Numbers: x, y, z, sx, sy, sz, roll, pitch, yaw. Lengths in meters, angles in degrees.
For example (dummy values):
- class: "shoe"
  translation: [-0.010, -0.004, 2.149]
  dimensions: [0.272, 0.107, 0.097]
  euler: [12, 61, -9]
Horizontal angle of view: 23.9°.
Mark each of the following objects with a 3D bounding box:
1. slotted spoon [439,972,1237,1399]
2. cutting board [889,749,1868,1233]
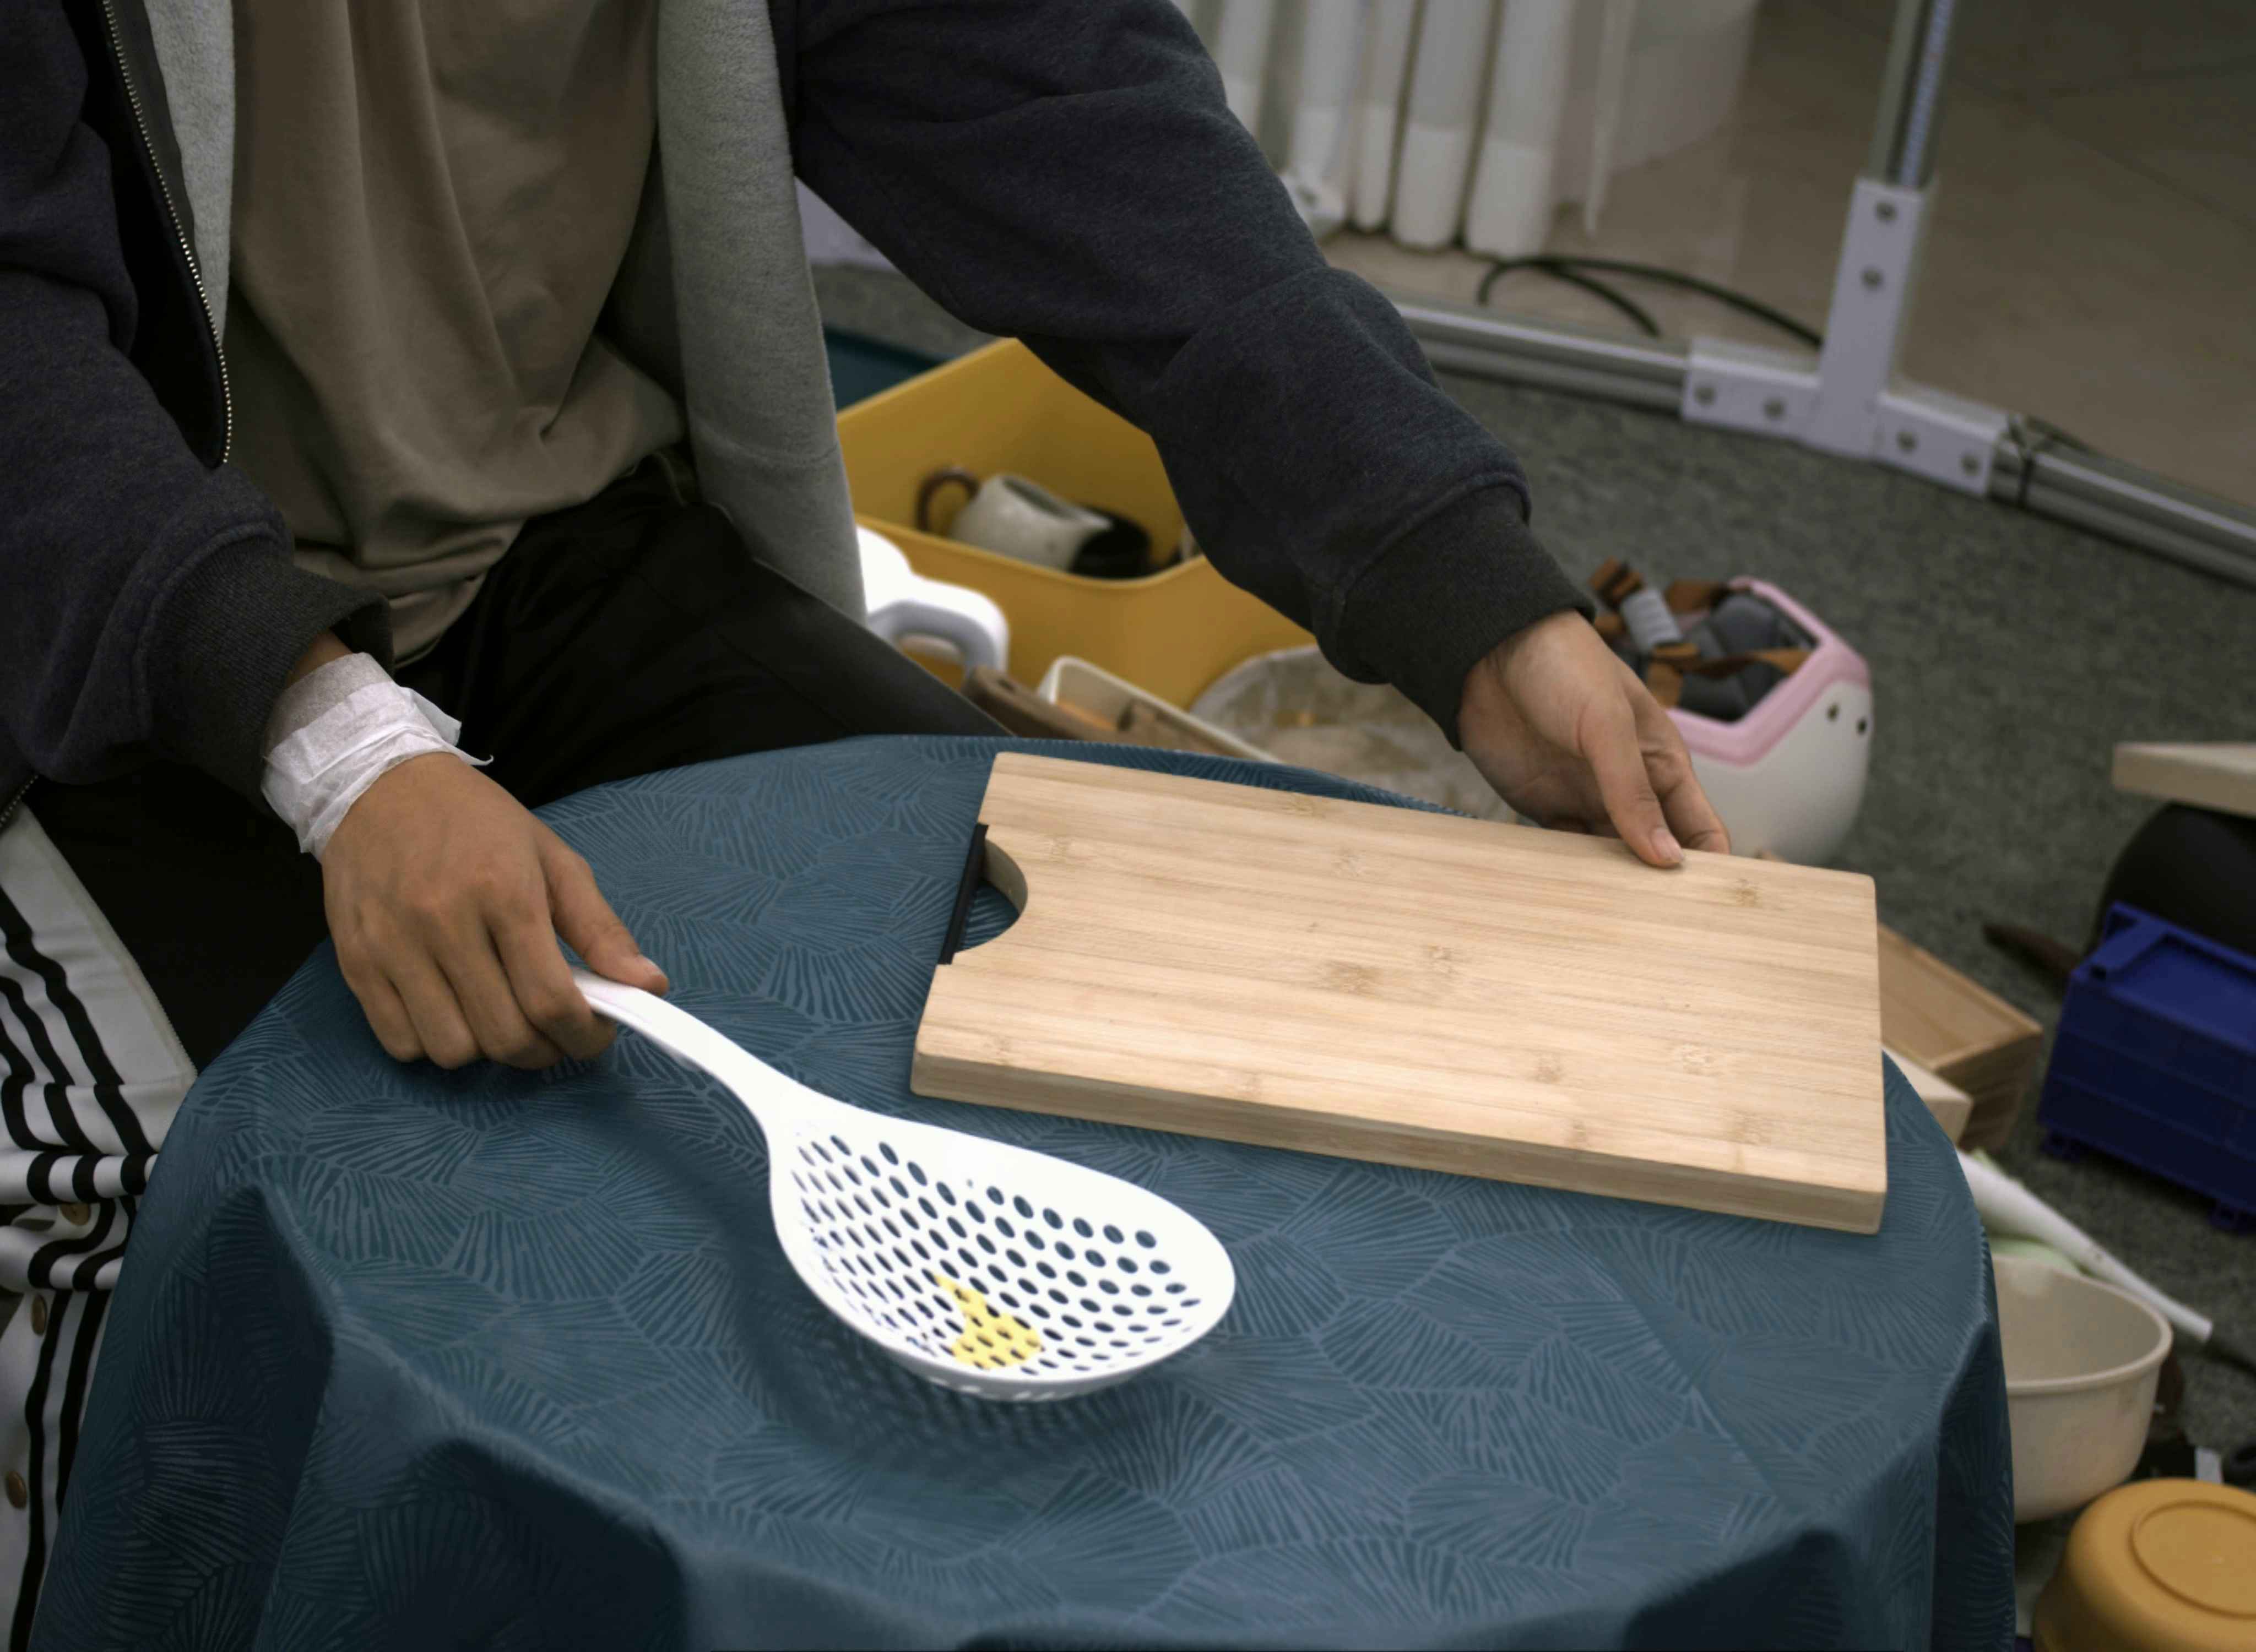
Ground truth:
- class: "slotted spoon"
  translation: [-0.111, 0.106, 1.758]
  dimensions: [0.136, 0.050, 0.351]
  euler: [-19, 39, -39]
- class: "cutting board"
  translation: [0.100, 0.056, 1.938]
  dimensions: [0.348, 0.023, 0.252]
  euler: [8, 27, 2]
